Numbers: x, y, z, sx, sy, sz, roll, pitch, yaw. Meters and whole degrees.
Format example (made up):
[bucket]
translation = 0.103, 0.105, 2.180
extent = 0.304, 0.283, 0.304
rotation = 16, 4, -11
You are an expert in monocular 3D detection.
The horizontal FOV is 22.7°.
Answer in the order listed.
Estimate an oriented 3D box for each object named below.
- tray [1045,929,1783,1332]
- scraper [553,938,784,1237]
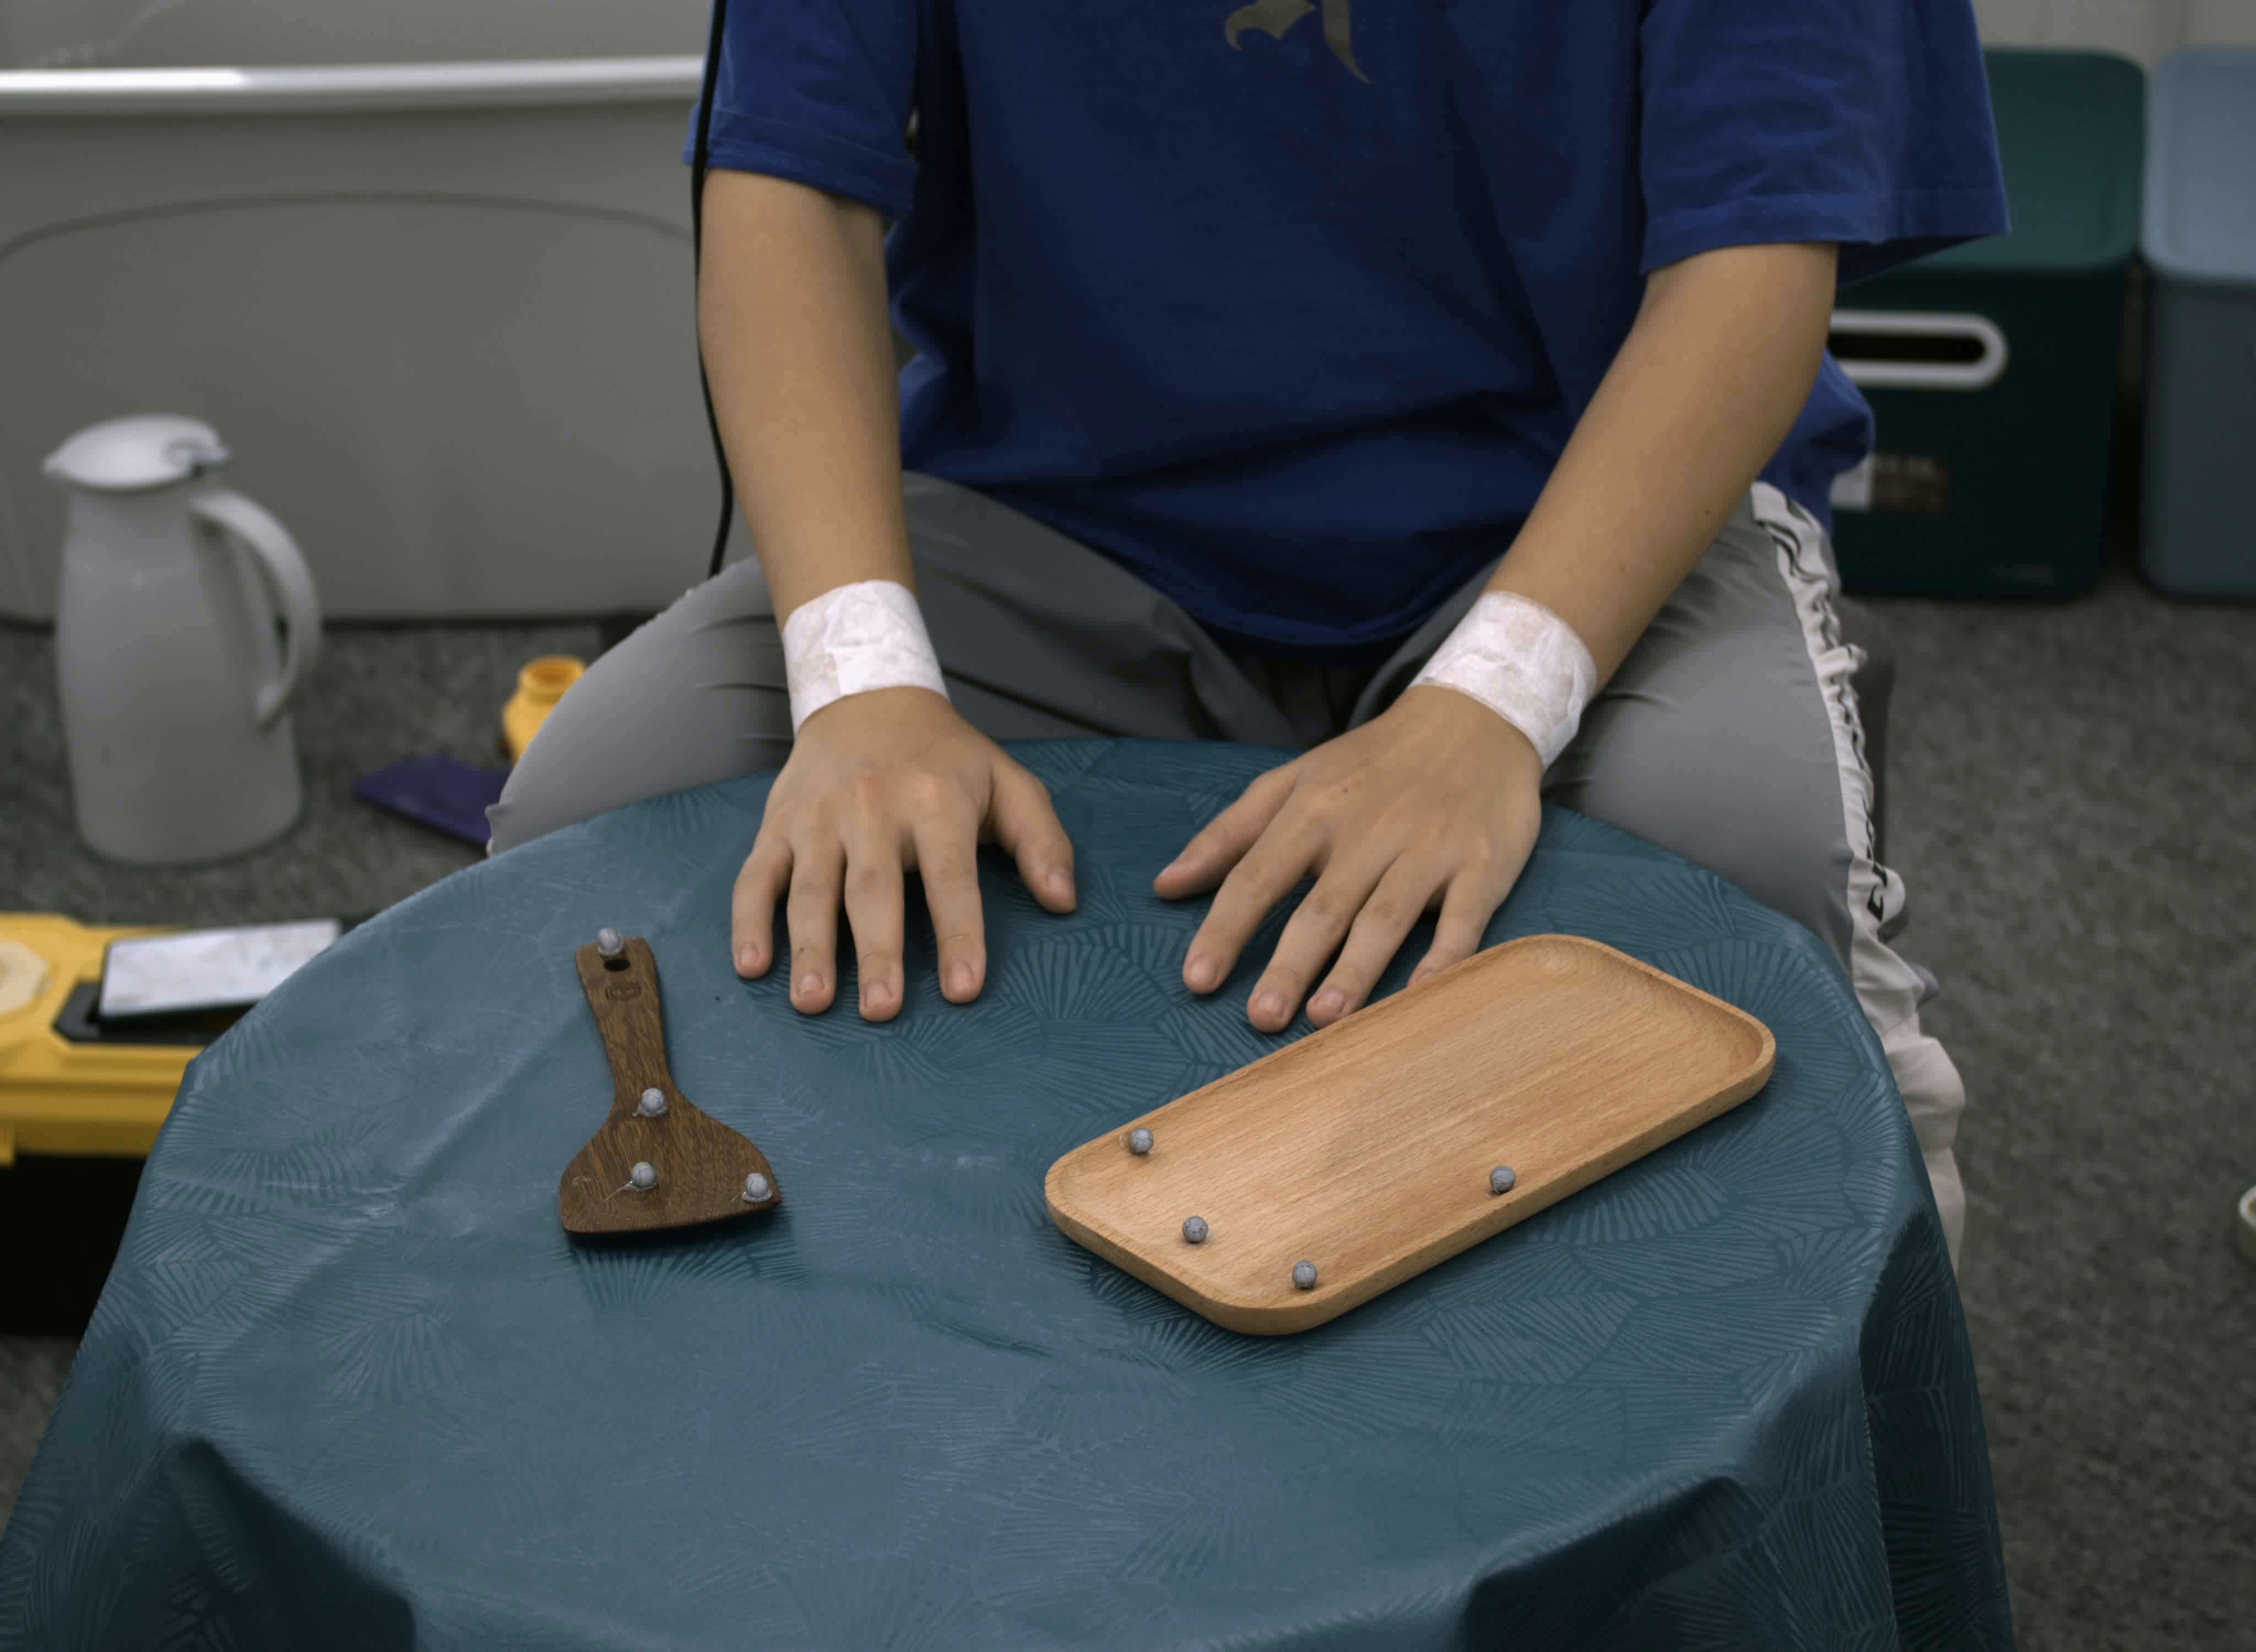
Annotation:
[tray]
translation = 0.097, 0.100, 1.875
extent = 0.253, 0.022, 0.131
rotation = -22, 35, -34
[scraper]
translation = -0.167, 0.089, 1.931
extent = 0.076, 0.011, 0.214
rotation = -7, 27, -8
